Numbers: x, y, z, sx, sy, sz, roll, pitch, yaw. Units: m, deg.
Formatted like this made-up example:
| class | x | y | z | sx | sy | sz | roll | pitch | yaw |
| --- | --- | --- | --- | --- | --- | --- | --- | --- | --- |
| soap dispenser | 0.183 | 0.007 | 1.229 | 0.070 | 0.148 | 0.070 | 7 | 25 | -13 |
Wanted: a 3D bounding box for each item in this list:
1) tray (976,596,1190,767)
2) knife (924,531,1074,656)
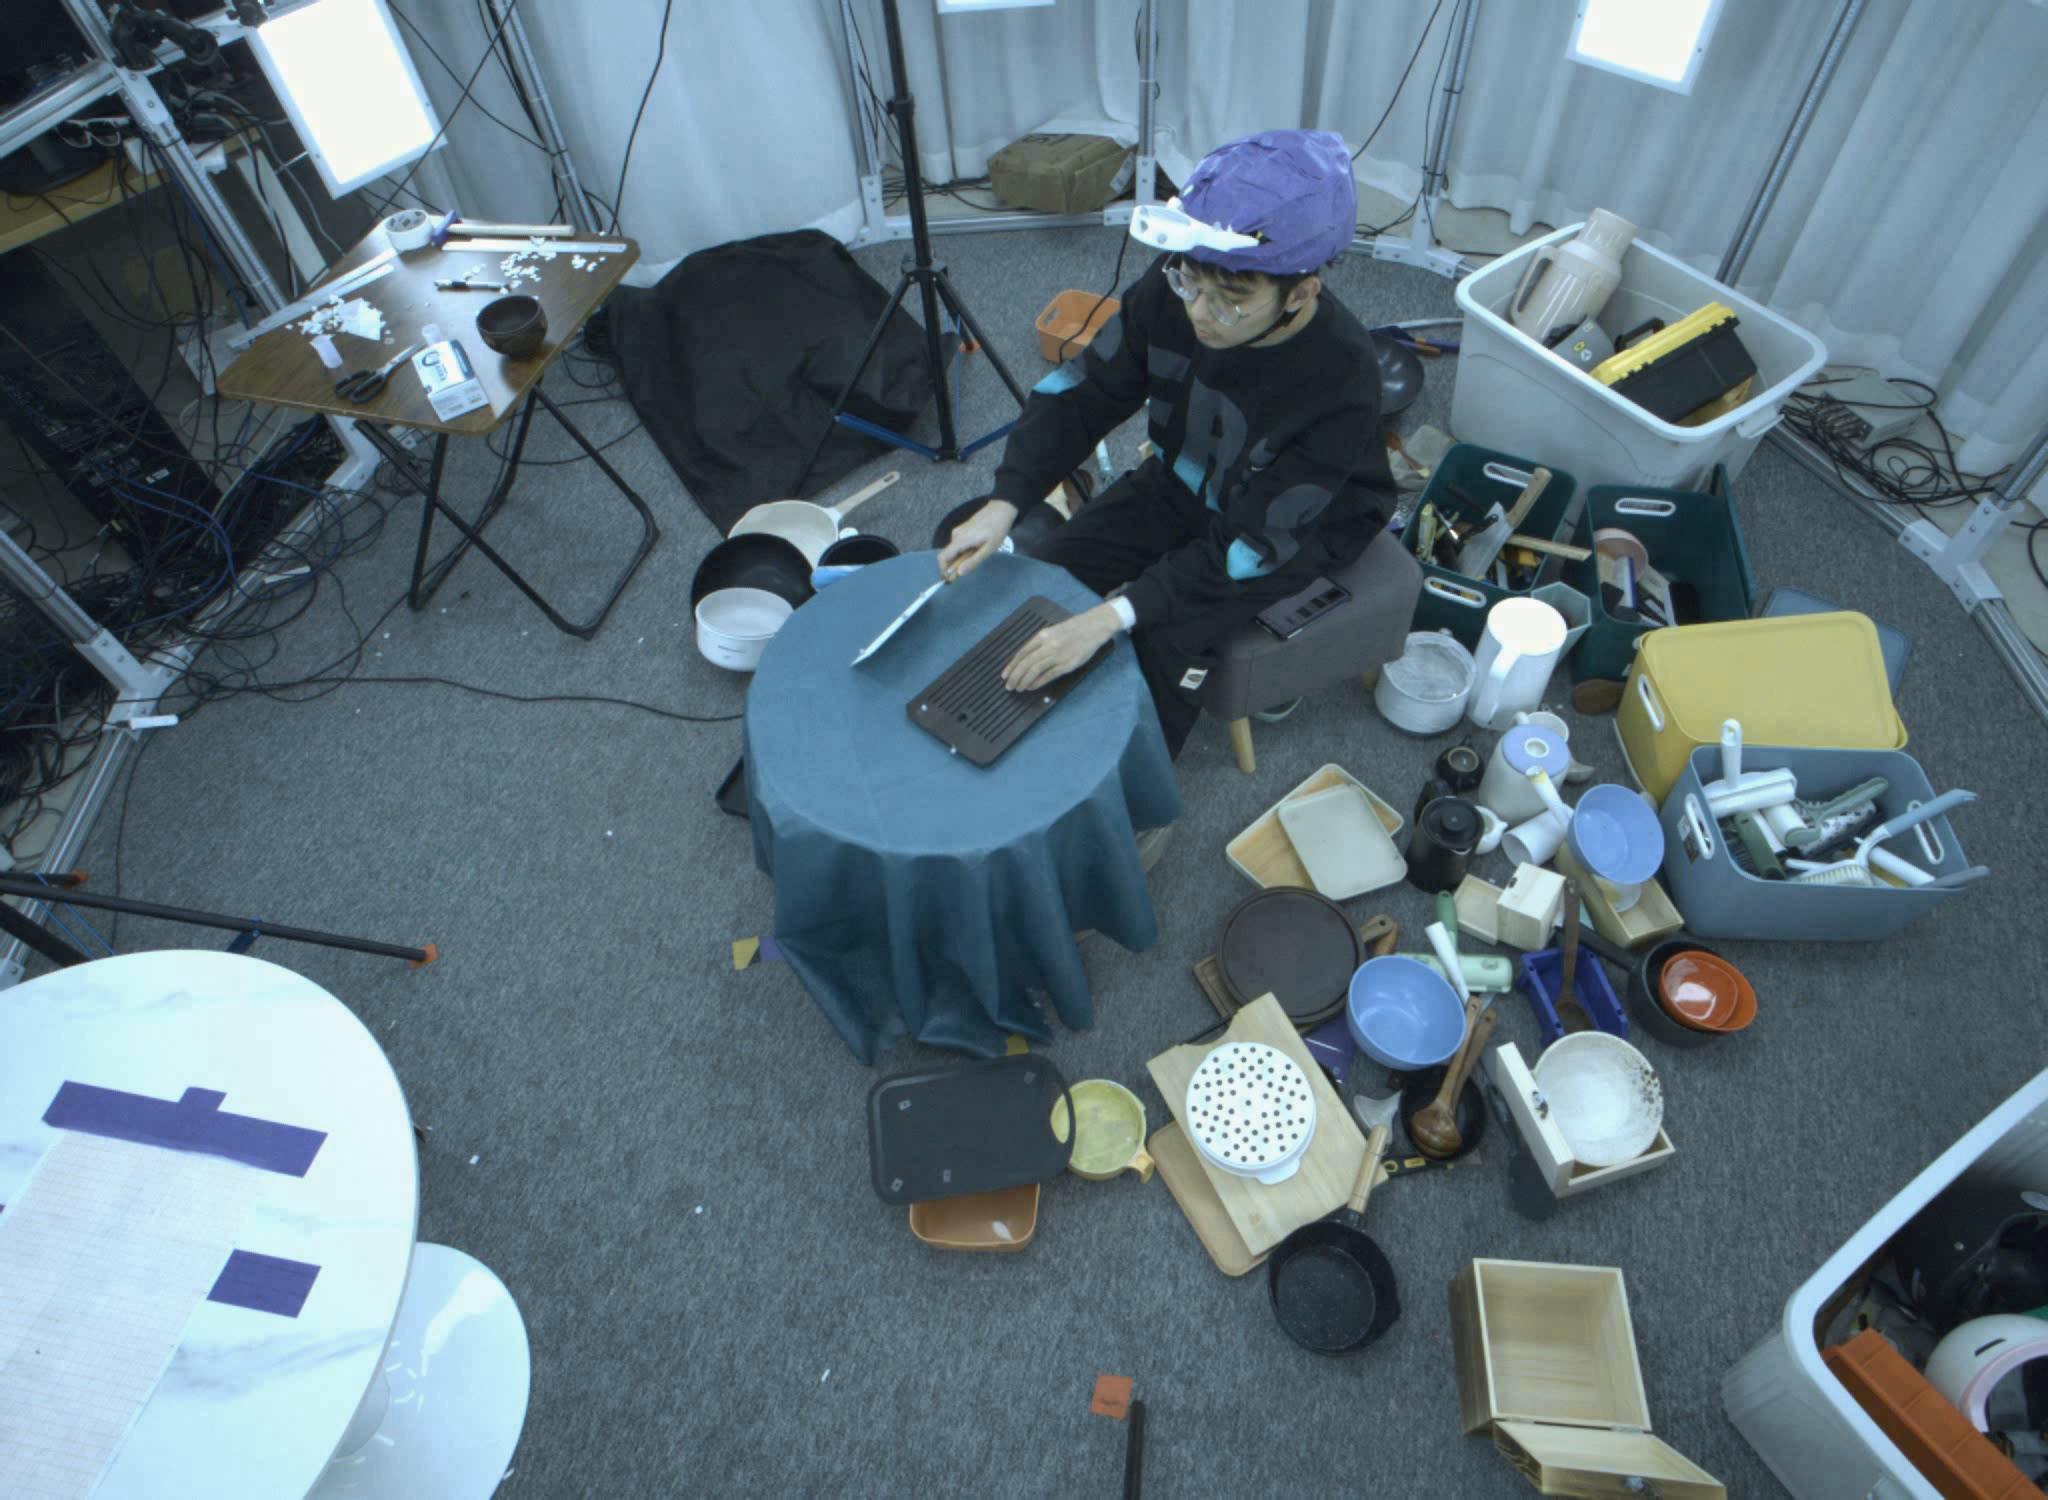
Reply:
| class | x | y | z | sx | sy | sz | roll | pitch | yaw |
| --- | --- | --- | --- | --- | --- | --- | --- | --- | --- |
| tray | 0.091 | -0.107 | 1.848 | 0.308 | 0.019 | 0.167 | -39 | 62 | -22 |
| knife | -0.042 | -0.243 | 1.912 | 0.307 | 0.091 | 0.021 | -44 | 106 | -24 |
